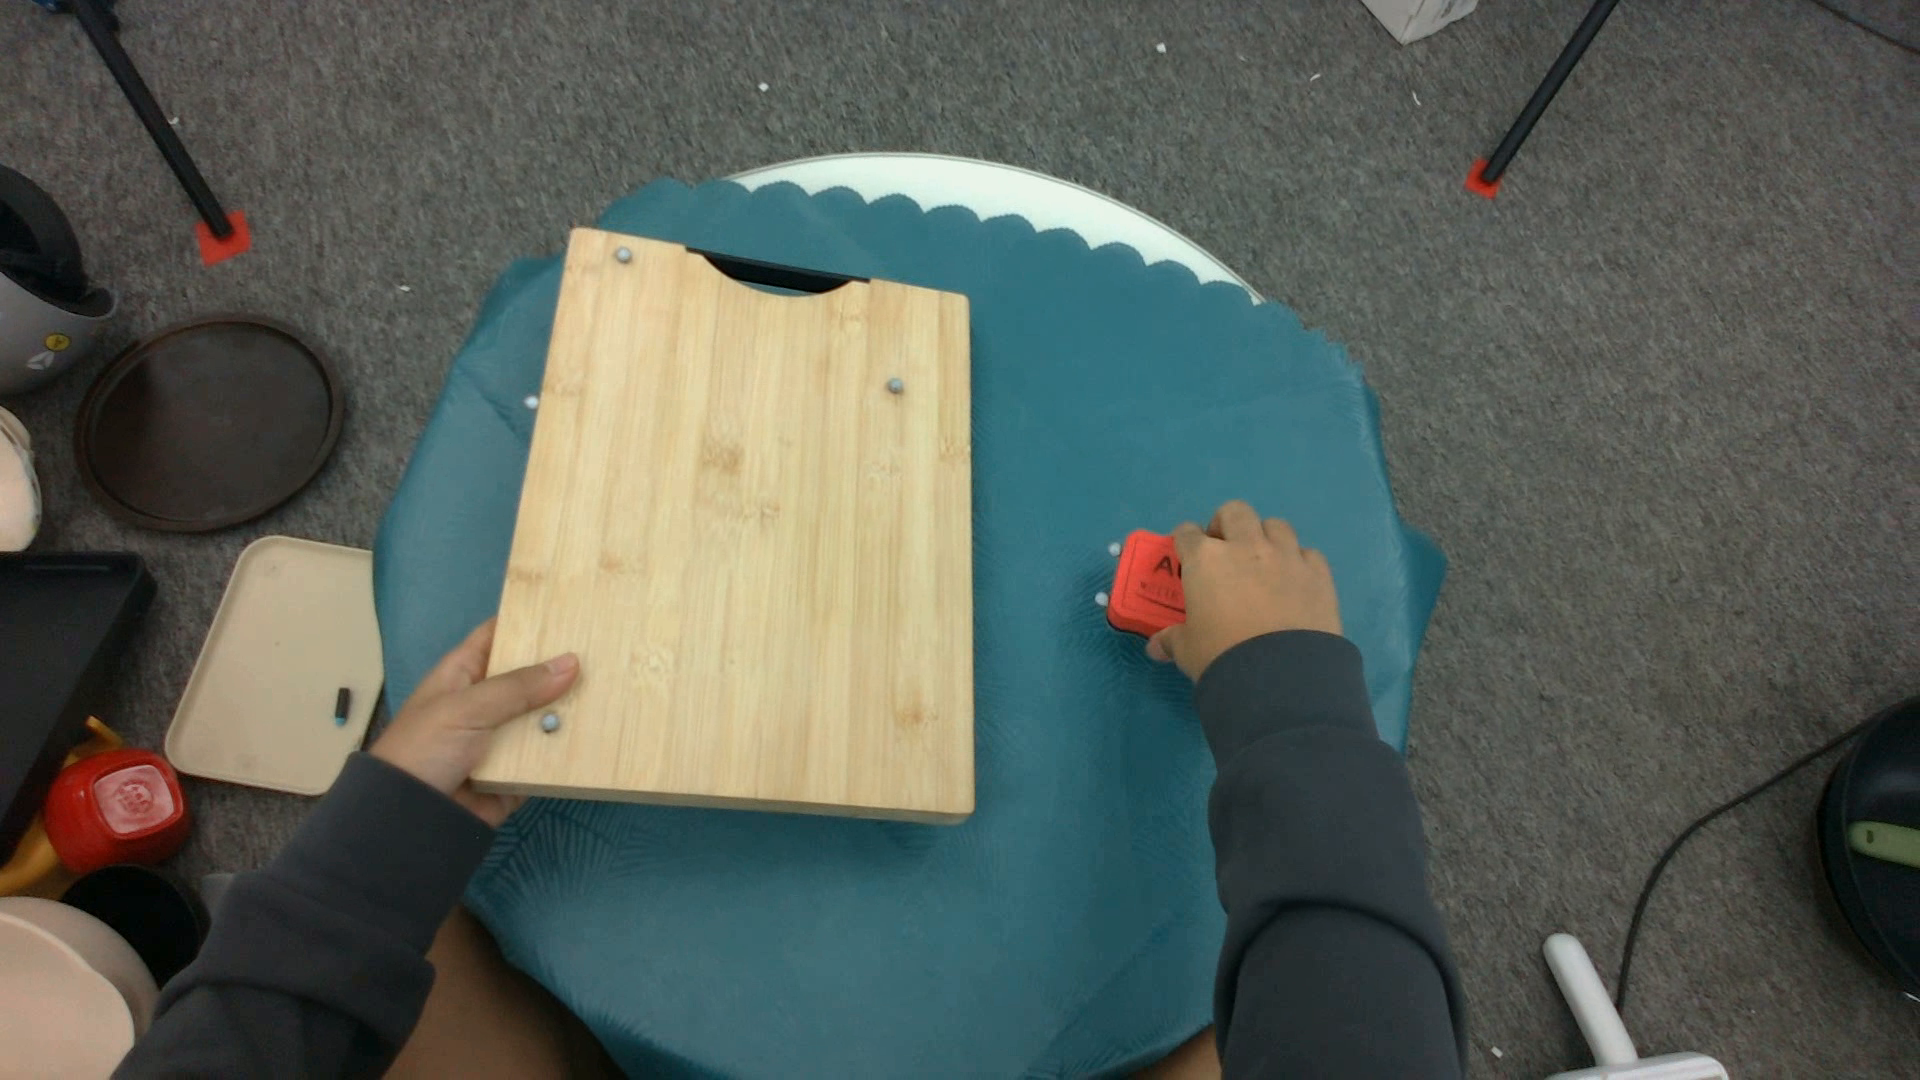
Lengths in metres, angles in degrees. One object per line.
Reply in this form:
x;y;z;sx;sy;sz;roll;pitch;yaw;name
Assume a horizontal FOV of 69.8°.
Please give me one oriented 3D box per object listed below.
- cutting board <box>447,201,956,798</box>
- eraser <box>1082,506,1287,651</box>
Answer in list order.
-0.124;-0.032;0.751;0.251;0.023;0.350;6;59;-15;cutting board
0.126;0.021;0.773;0.108;0.023;0.059;15;63;4;eraser
